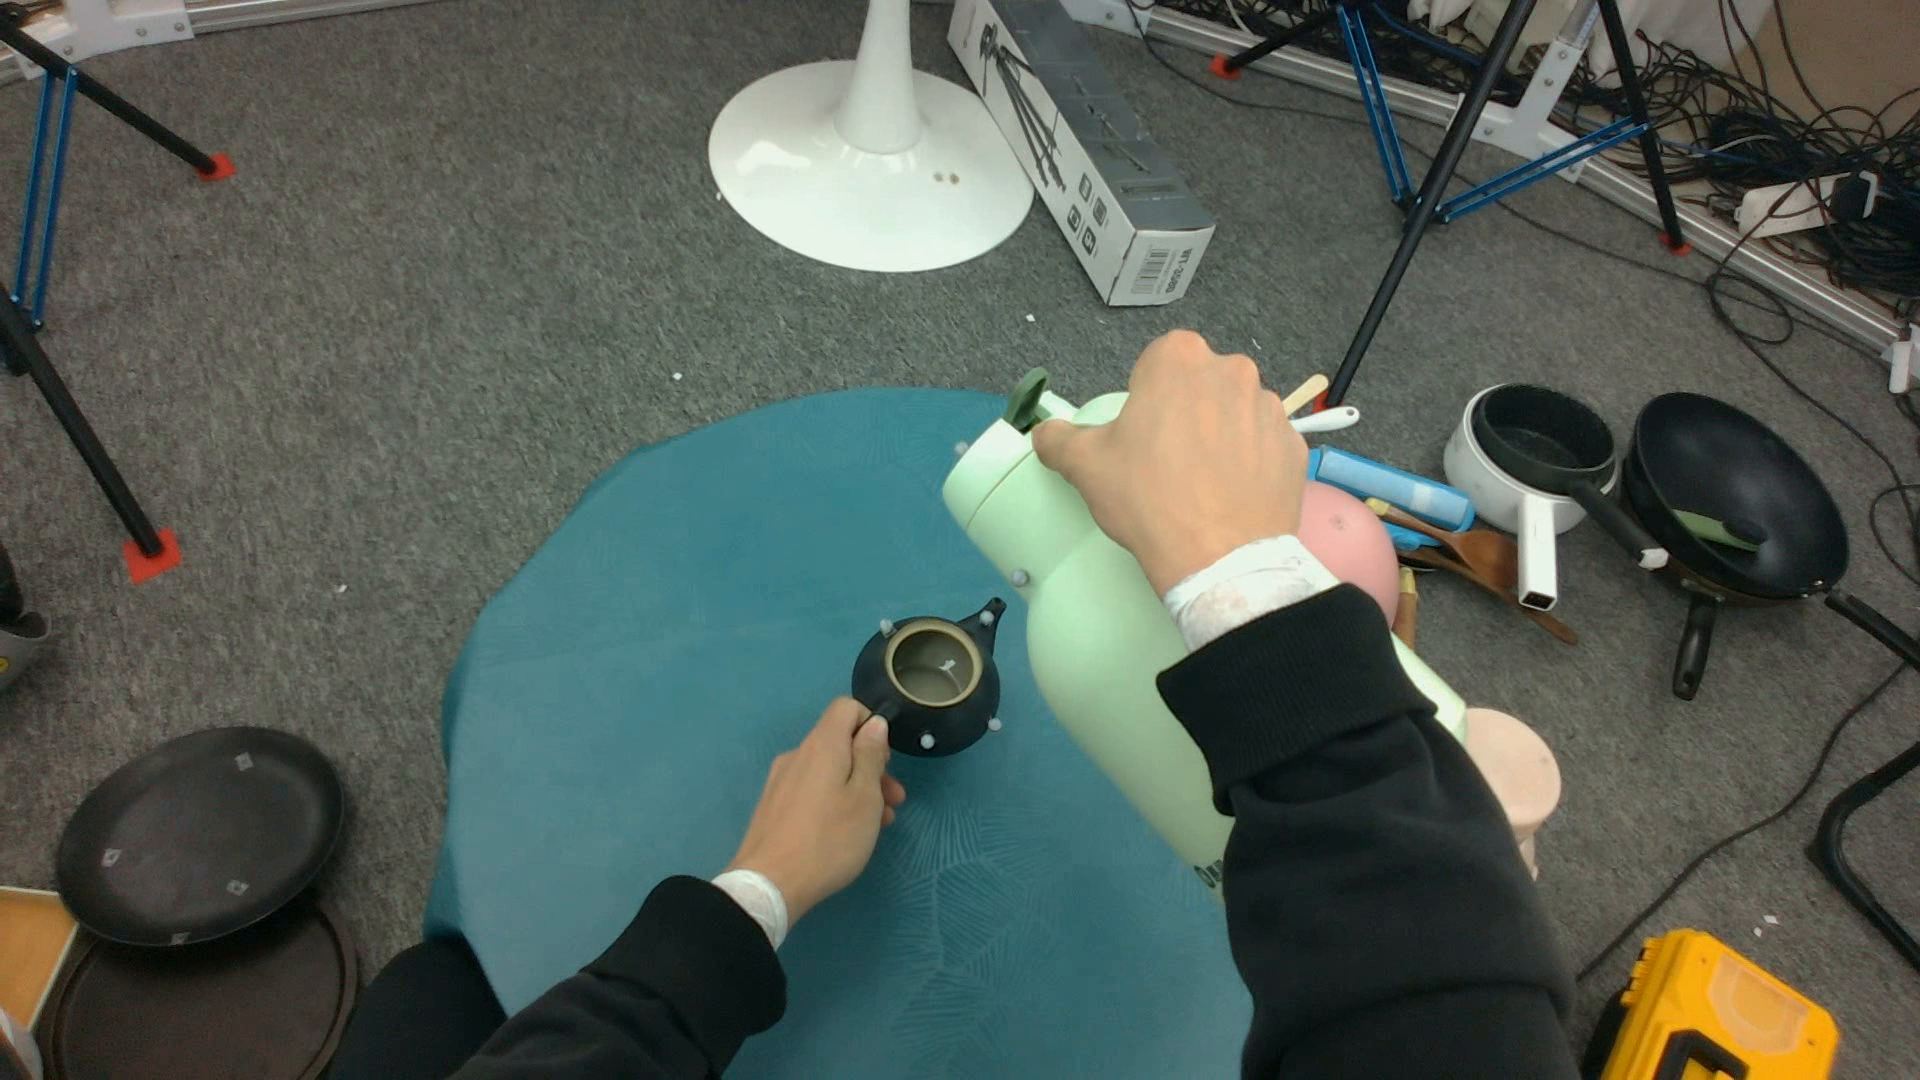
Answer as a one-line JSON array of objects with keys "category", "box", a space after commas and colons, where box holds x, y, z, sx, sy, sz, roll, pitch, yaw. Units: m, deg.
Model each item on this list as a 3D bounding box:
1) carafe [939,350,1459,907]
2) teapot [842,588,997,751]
[{"category": "carafe", "box": [0.103, 0.030, 0.640, 0.145, 0.186, 0.257, -36, 80, -28]}, {"category": "teapot", "box": [-0.025, 0.081, 0.824, 0.091, 0.053, 0.134, 37, 54, 16]}]
